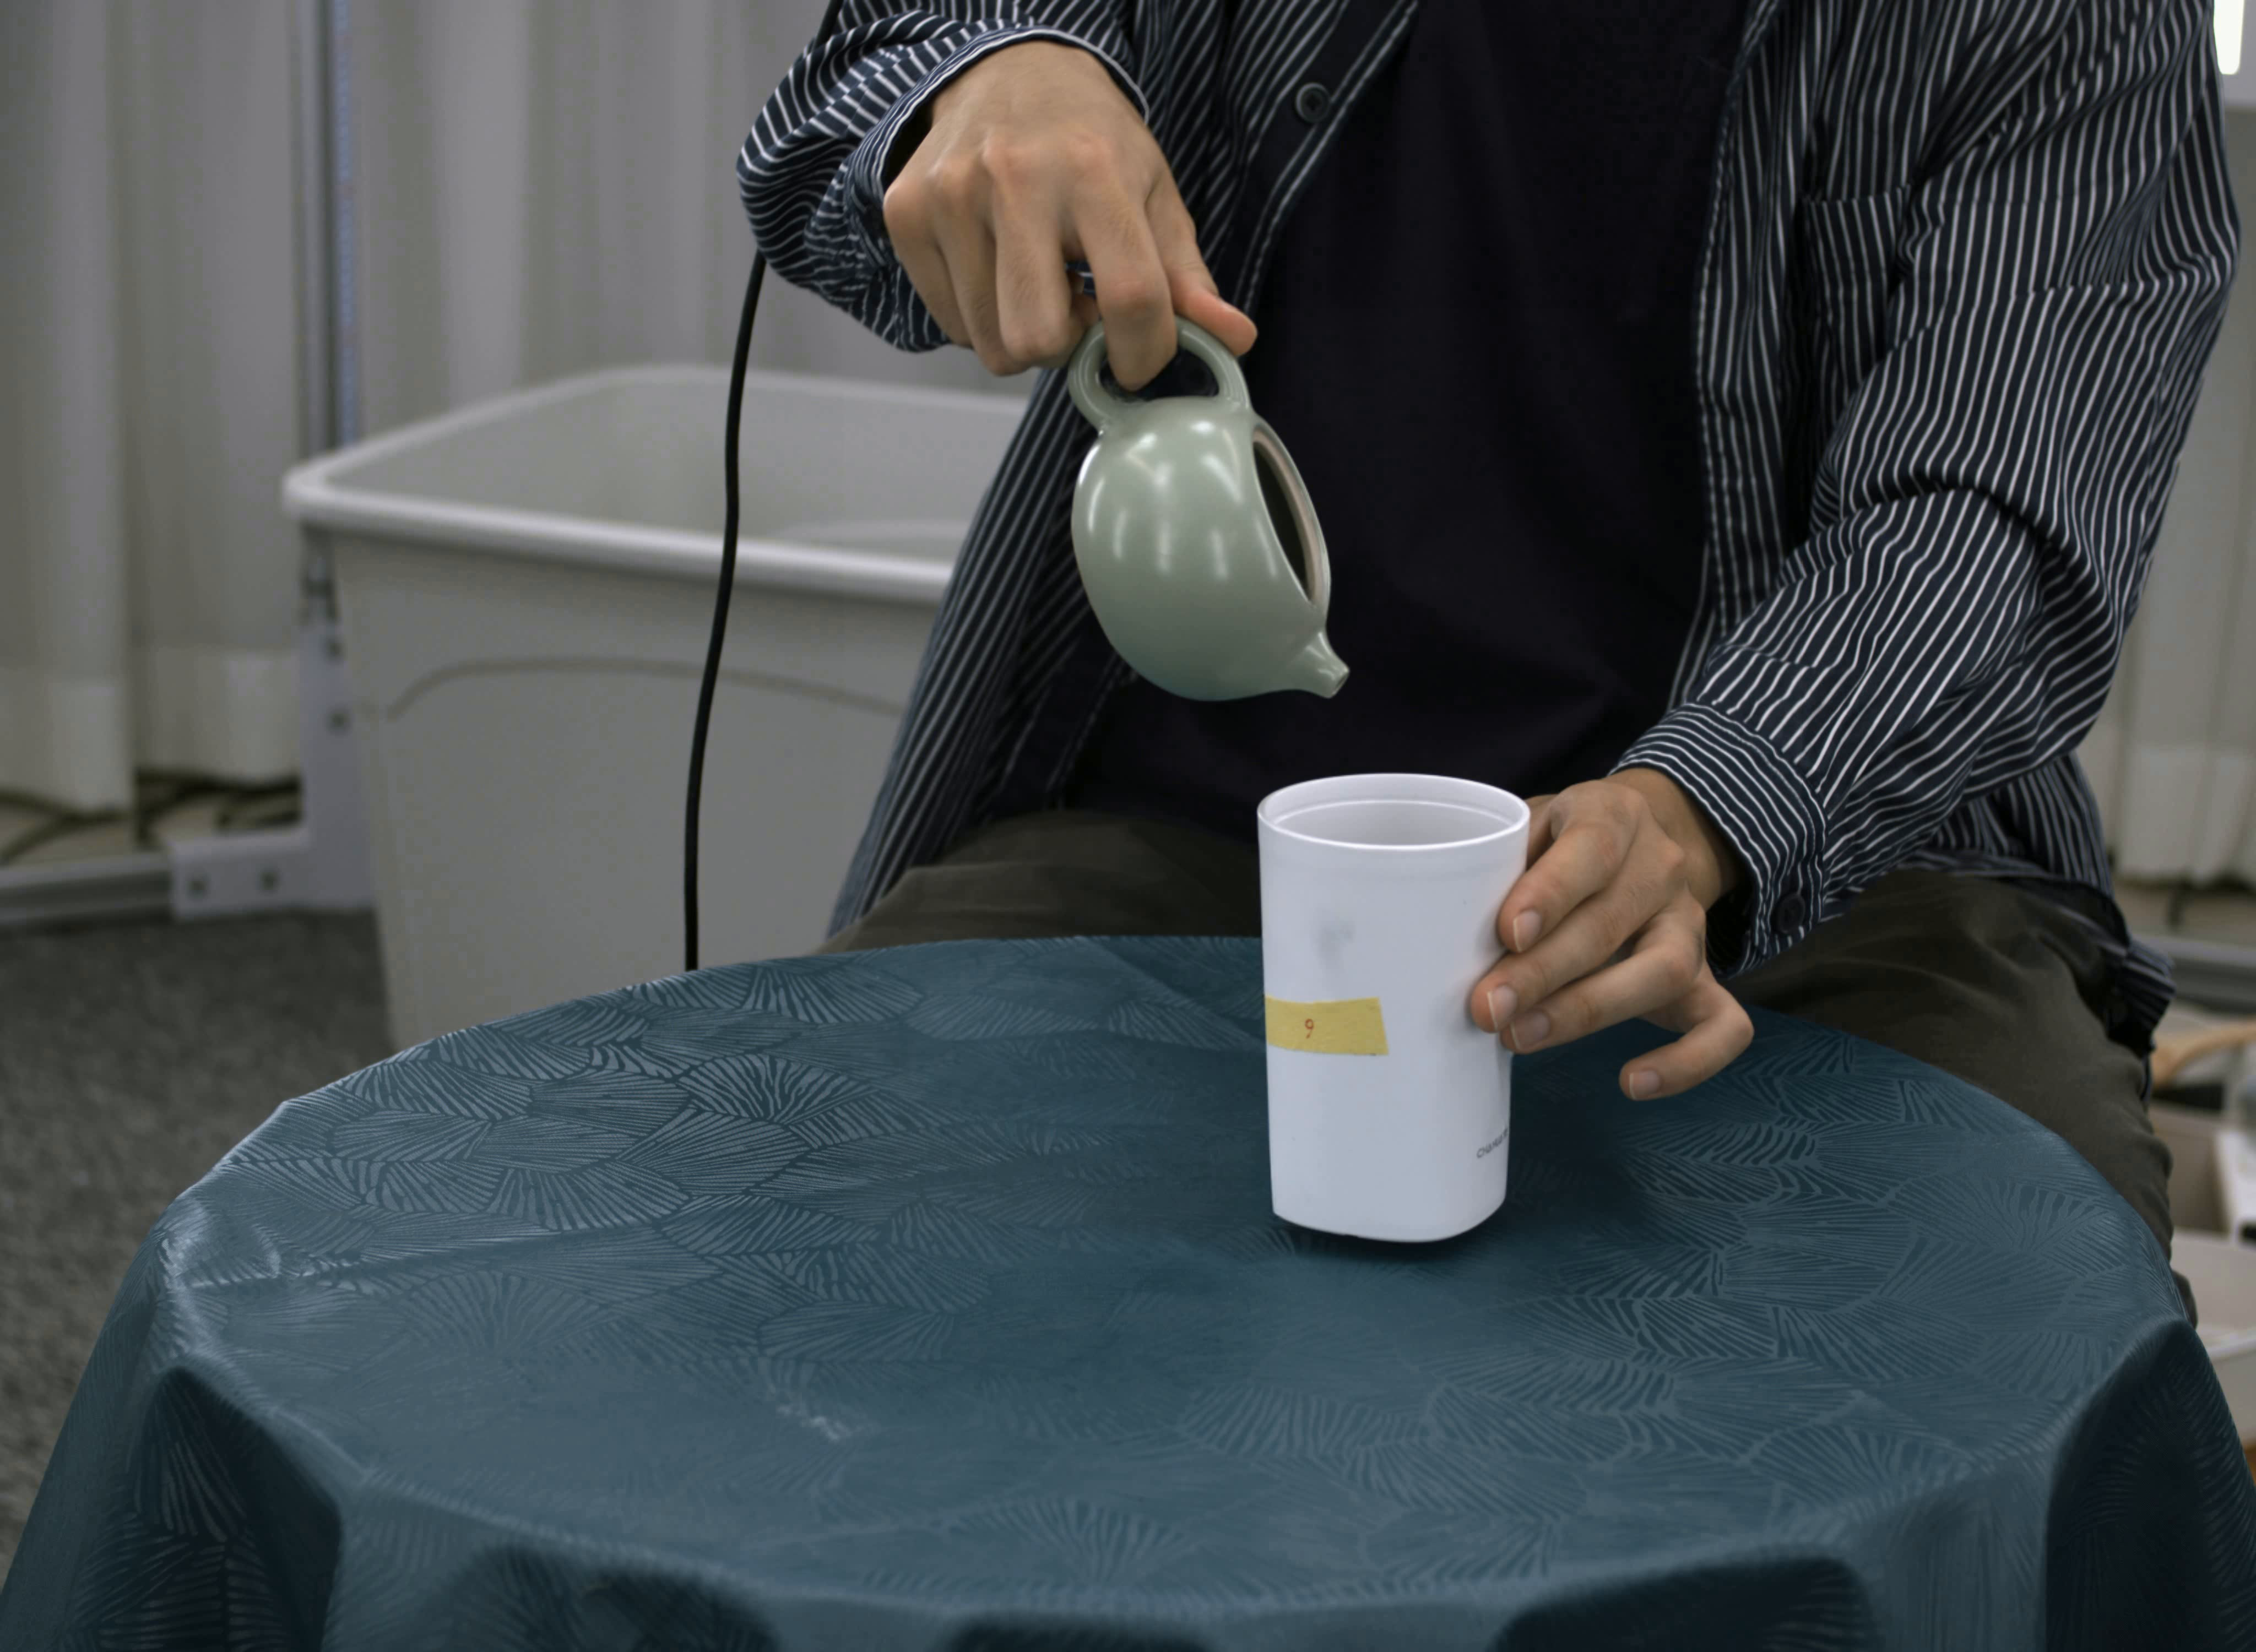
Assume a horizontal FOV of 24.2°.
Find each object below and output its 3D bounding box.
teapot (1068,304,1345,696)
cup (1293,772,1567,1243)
[{"bbox_3d":[0.017,-0.092,1.549,0.060,0.128,0.092,-20,-6,16],"label":"teapot"},{"bbox_3d":[0.089,0.054,1.573,0.081,0.126,0.081,0,16,1],"label":"cup"}]
